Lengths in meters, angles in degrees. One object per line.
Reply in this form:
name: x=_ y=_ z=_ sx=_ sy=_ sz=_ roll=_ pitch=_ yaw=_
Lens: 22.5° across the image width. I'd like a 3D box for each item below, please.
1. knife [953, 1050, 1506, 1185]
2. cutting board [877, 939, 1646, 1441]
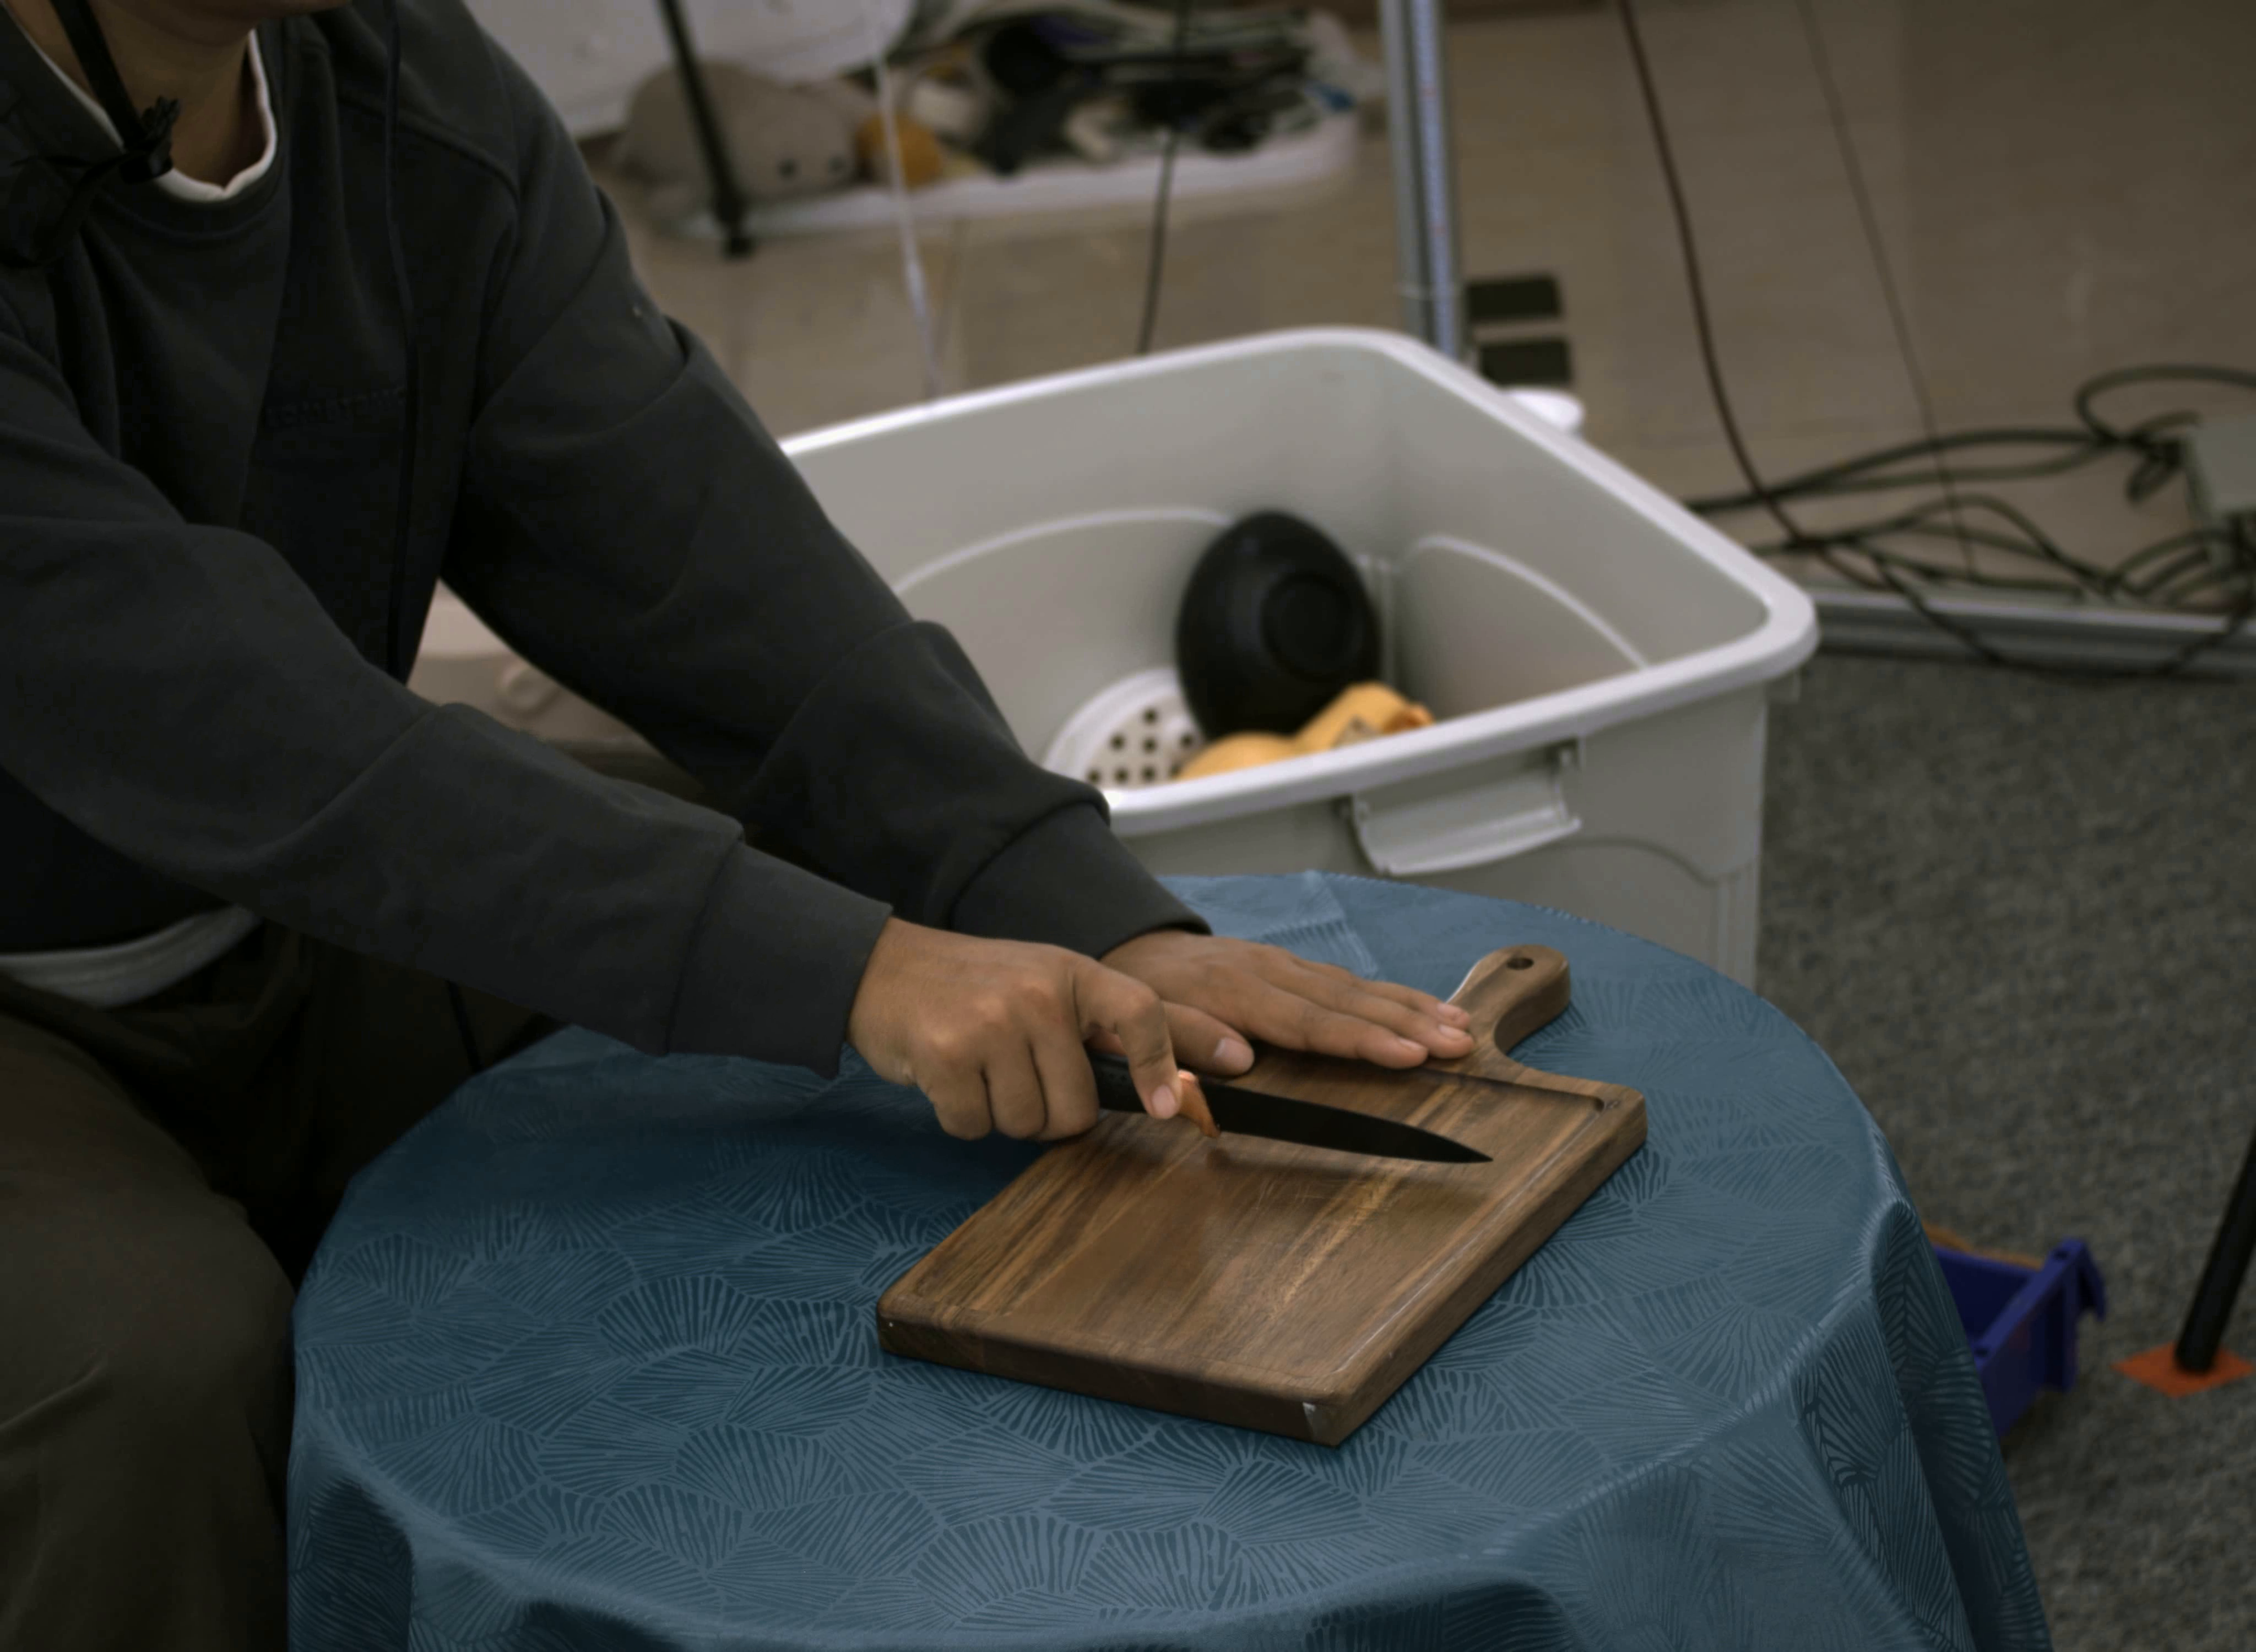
knife: x=0.036 y=0.109 z=2.136 sx=0.224 sy=0.027 sz=0.017 roll=9 pitch=37 yaw=23
cutting board: x=0.077 y=0.125 z=2.136 sx=0.200 sy=0.023 sz=0.348 roll=9 pitch=28 yaw=30
